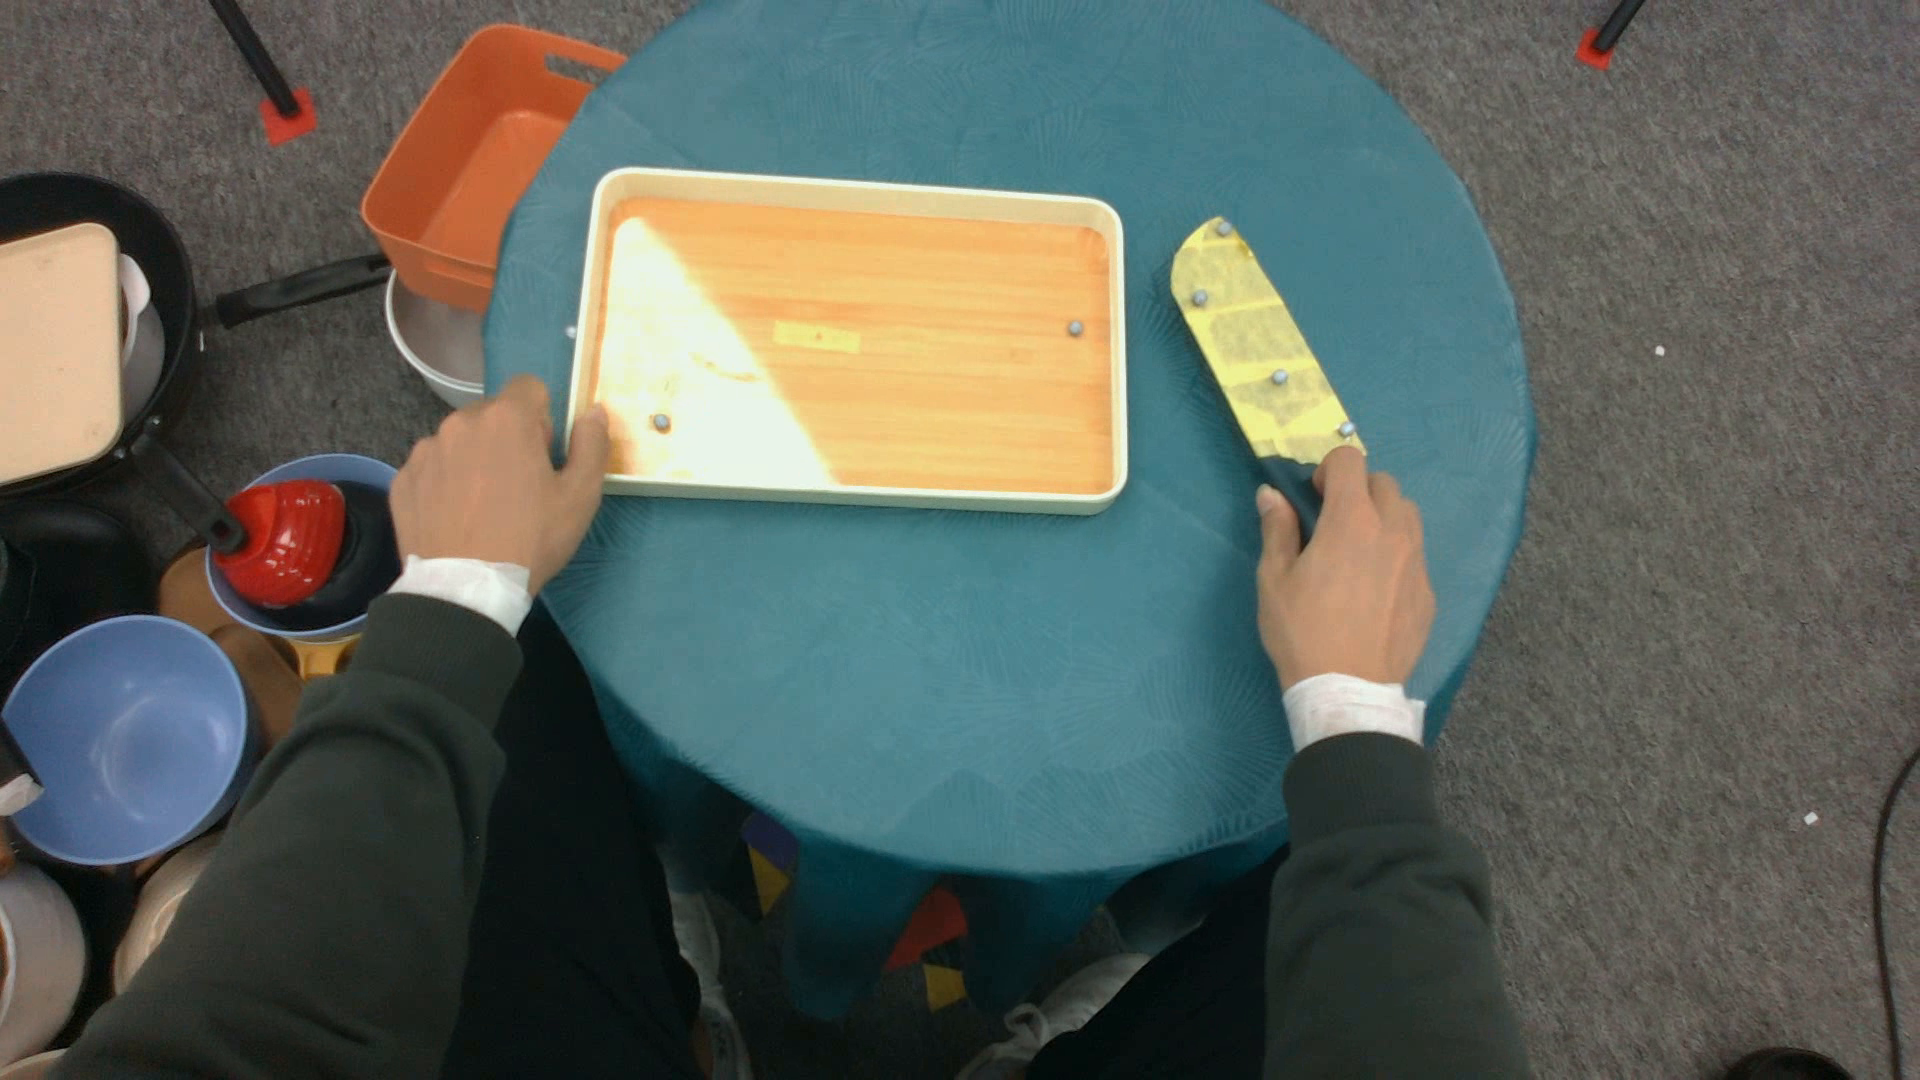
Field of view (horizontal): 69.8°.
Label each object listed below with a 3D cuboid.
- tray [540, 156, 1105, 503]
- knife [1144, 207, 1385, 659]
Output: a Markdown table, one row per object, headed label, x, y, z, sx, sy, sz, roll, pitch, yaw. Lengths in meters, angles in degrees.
| label | x | y | z | sx | sy | sz | roll | pitch | yaw |
| --- | --- | --- | --- | --- | --- | --- | --- | --- | --- |
| tray | -0.071 | -0.118 | 0.766 | 0.300 | 0.027 | 0.192 | 2 | 71 | -5 |
| knife | 0.176 | -0.069 | 0.773 | 0.081 | 0.027 | 0.290 | -11 | 70 | -25 |
